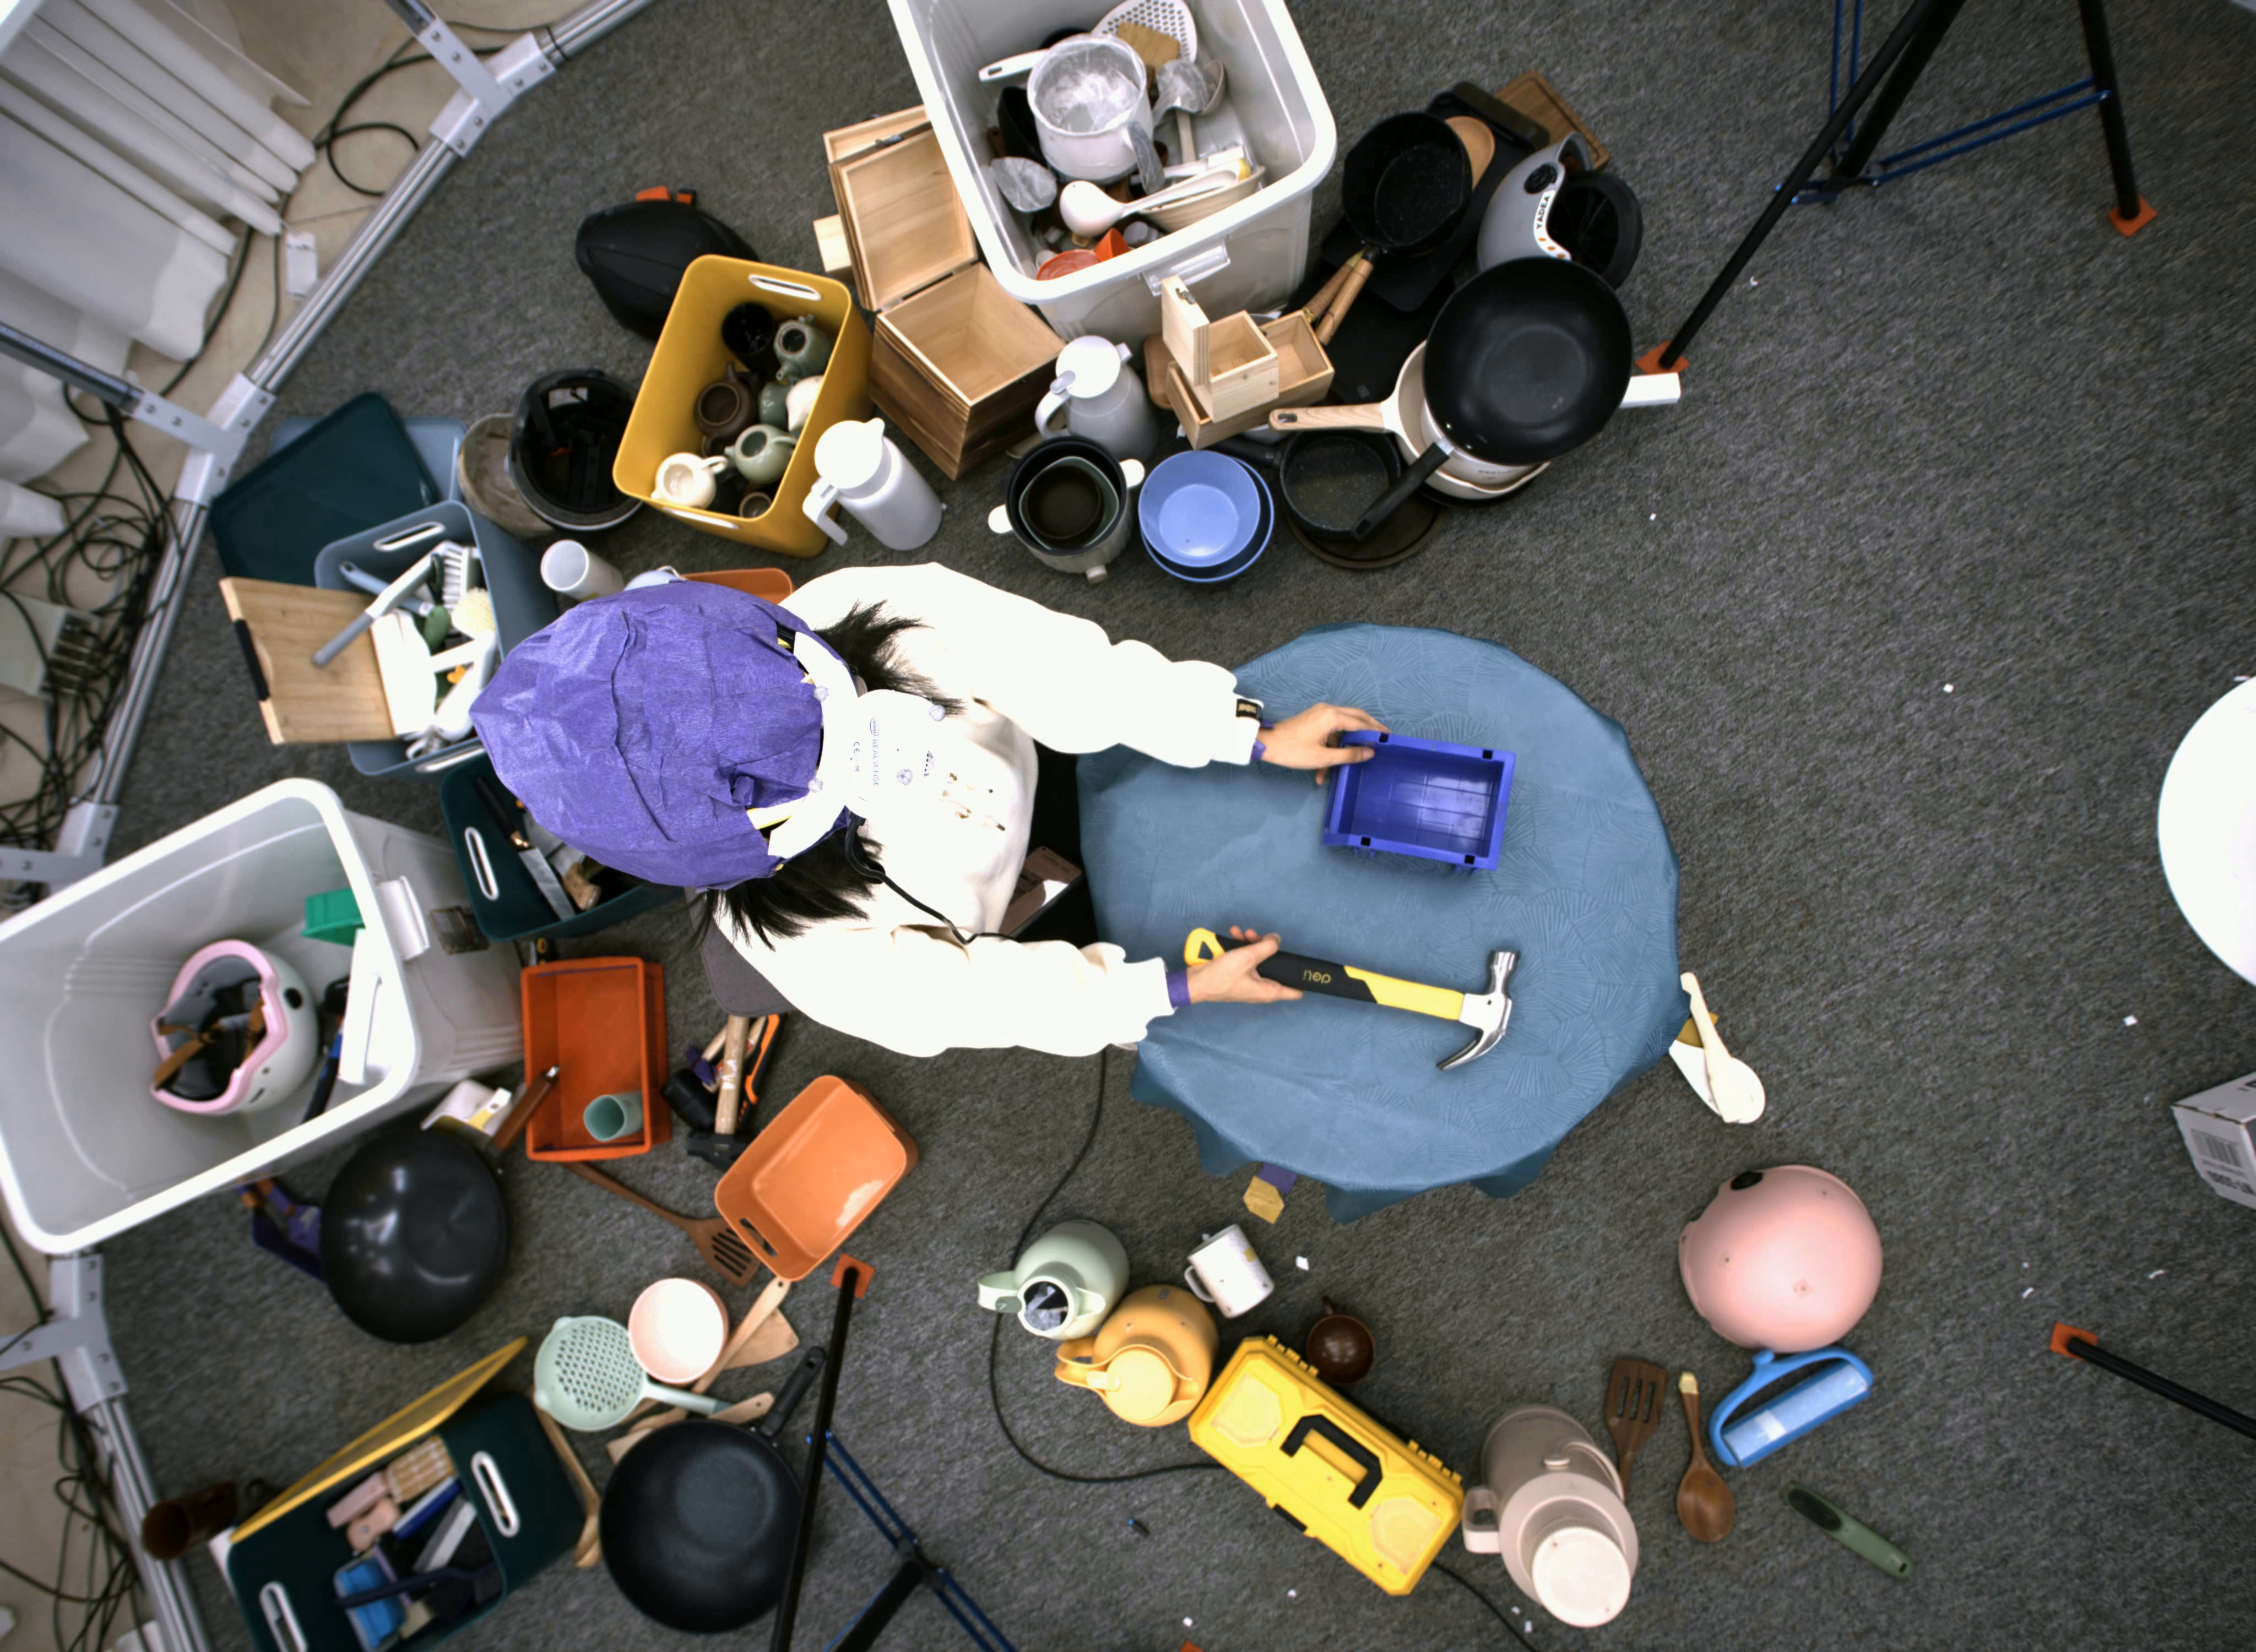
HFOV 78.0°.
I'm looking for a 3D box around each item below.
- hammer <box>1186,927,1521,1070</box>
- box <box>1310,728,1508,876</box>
[{"bbox_3d":[0.226,0.159,1.423,0.339,0.032,0.131,13,91,2],"label":"hammer"},{"bbox_3d":[0.287,-0.026,1.421,0.180,0.082,0.124,11,88,9],"label":"box"}]
